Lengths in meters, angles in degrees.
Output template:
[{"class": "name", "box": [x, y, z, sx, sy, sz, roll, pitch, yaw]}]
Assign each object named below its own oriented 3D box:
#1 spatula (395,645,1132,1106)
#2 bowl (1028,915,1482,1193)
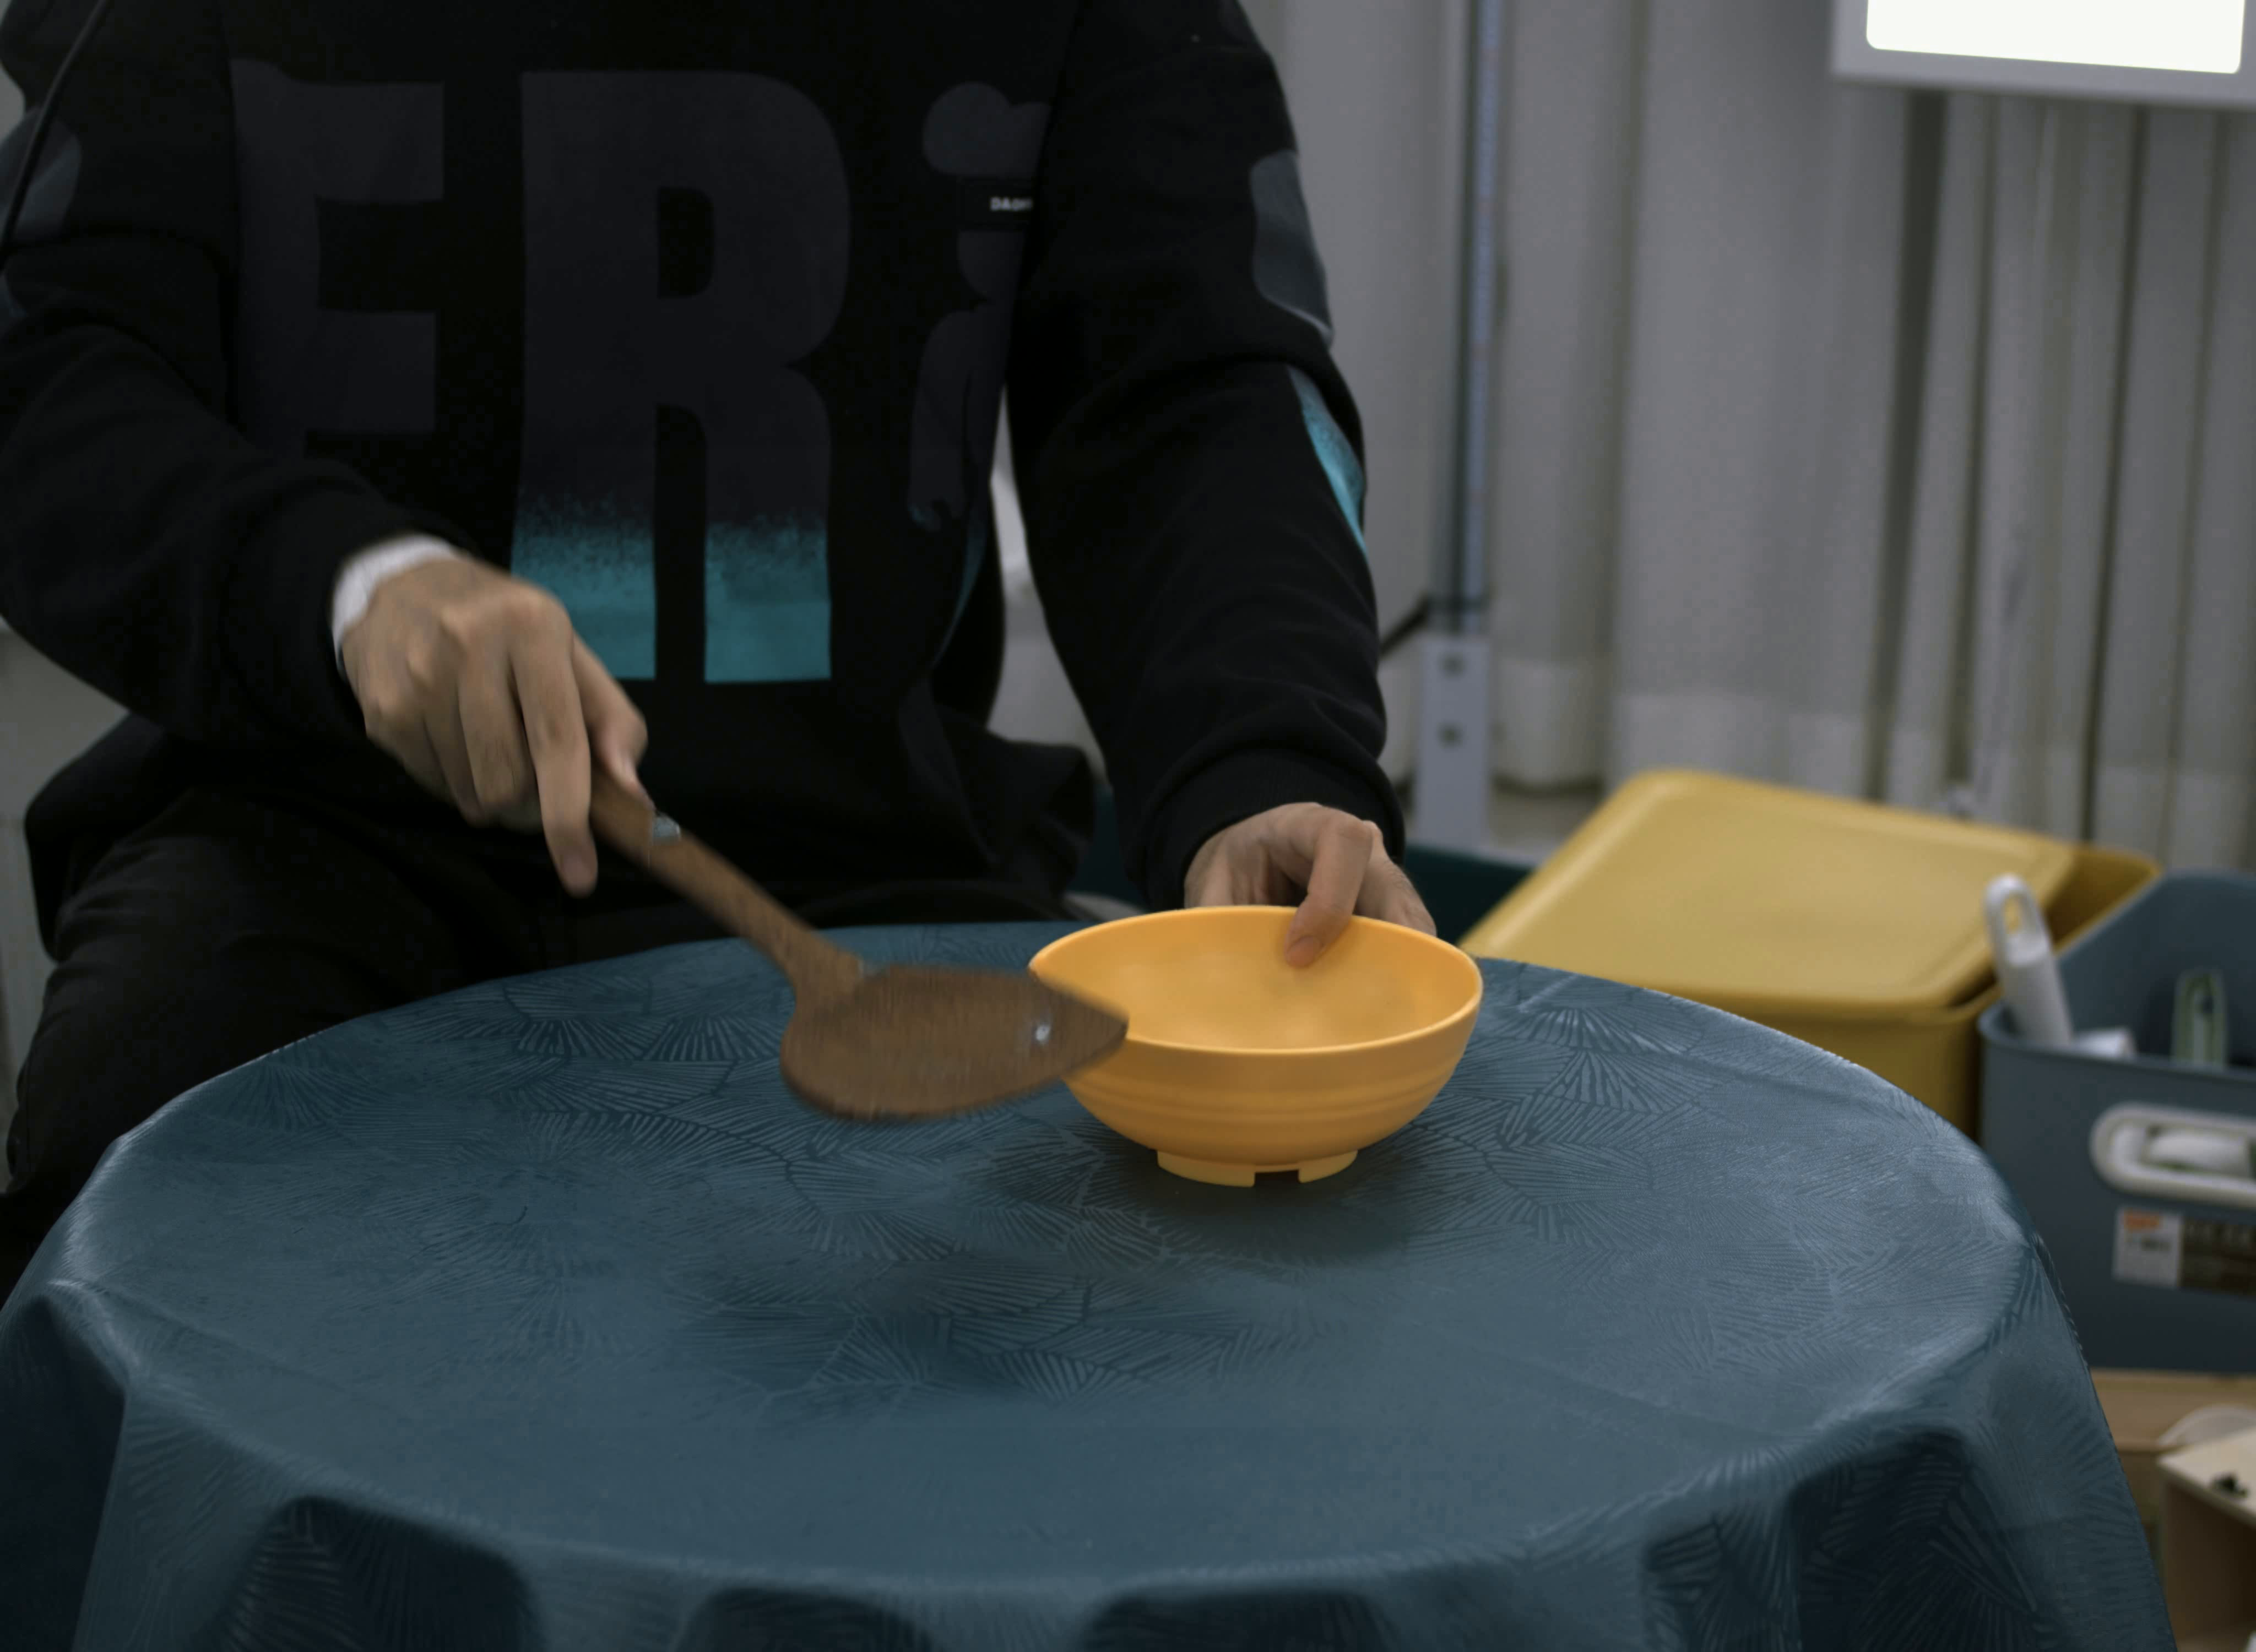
[{"class": "spatula", "box": [-0.134, 0.006, 1.630, 0.096, 0.016, 0.380, -20, 32, -28]}, {"class": "bowl", "box": [0.037, 0.076, 1.652, 0.145, 0.060, 0.144, 3, 15, 0]}]
